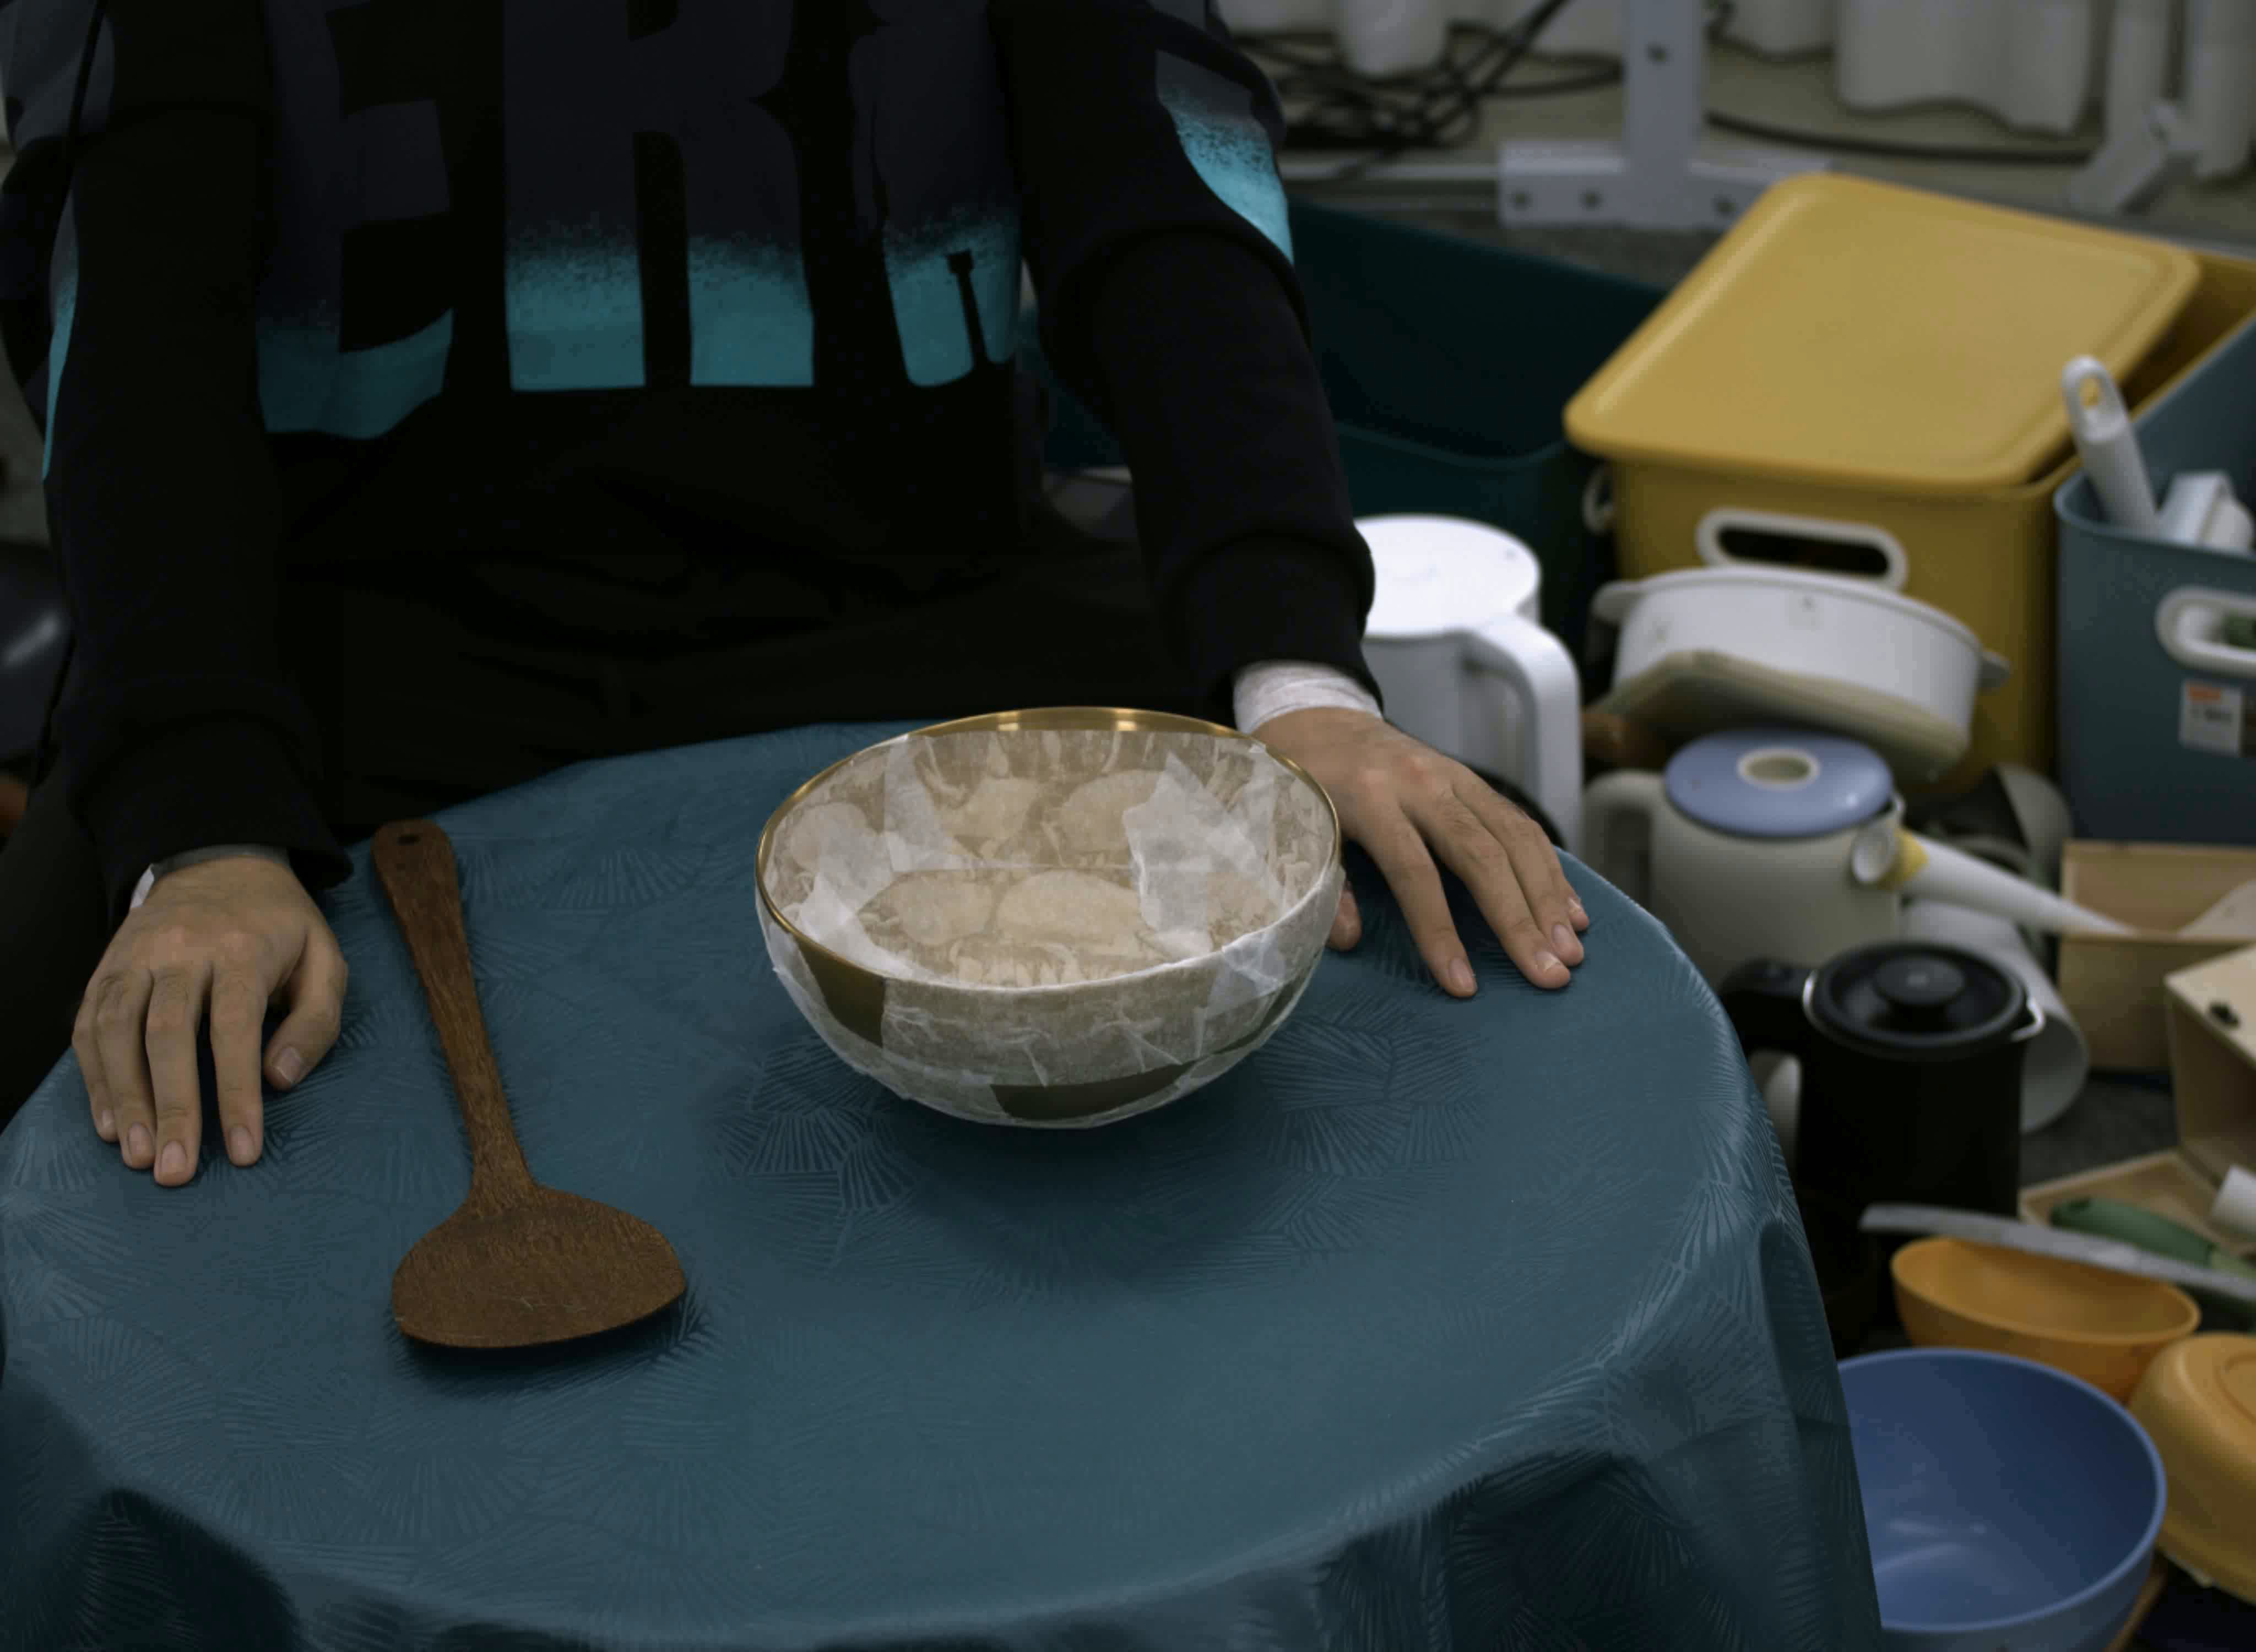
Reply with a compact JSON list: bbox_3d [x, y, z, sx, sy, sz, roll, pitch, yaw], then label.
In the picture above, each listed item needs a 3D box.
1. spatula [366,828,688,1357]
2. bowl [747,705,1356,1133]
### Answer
[{"bbox_3d":[-0.227,0.084,1.943,0.096,0.015,0.390,-8,27,-11],"label":"spatula"},{"bbox_3d":[-0.023,0.043,1.917,0.213,0.093,0.218,-4,26,2],"label":"bowl"}]
